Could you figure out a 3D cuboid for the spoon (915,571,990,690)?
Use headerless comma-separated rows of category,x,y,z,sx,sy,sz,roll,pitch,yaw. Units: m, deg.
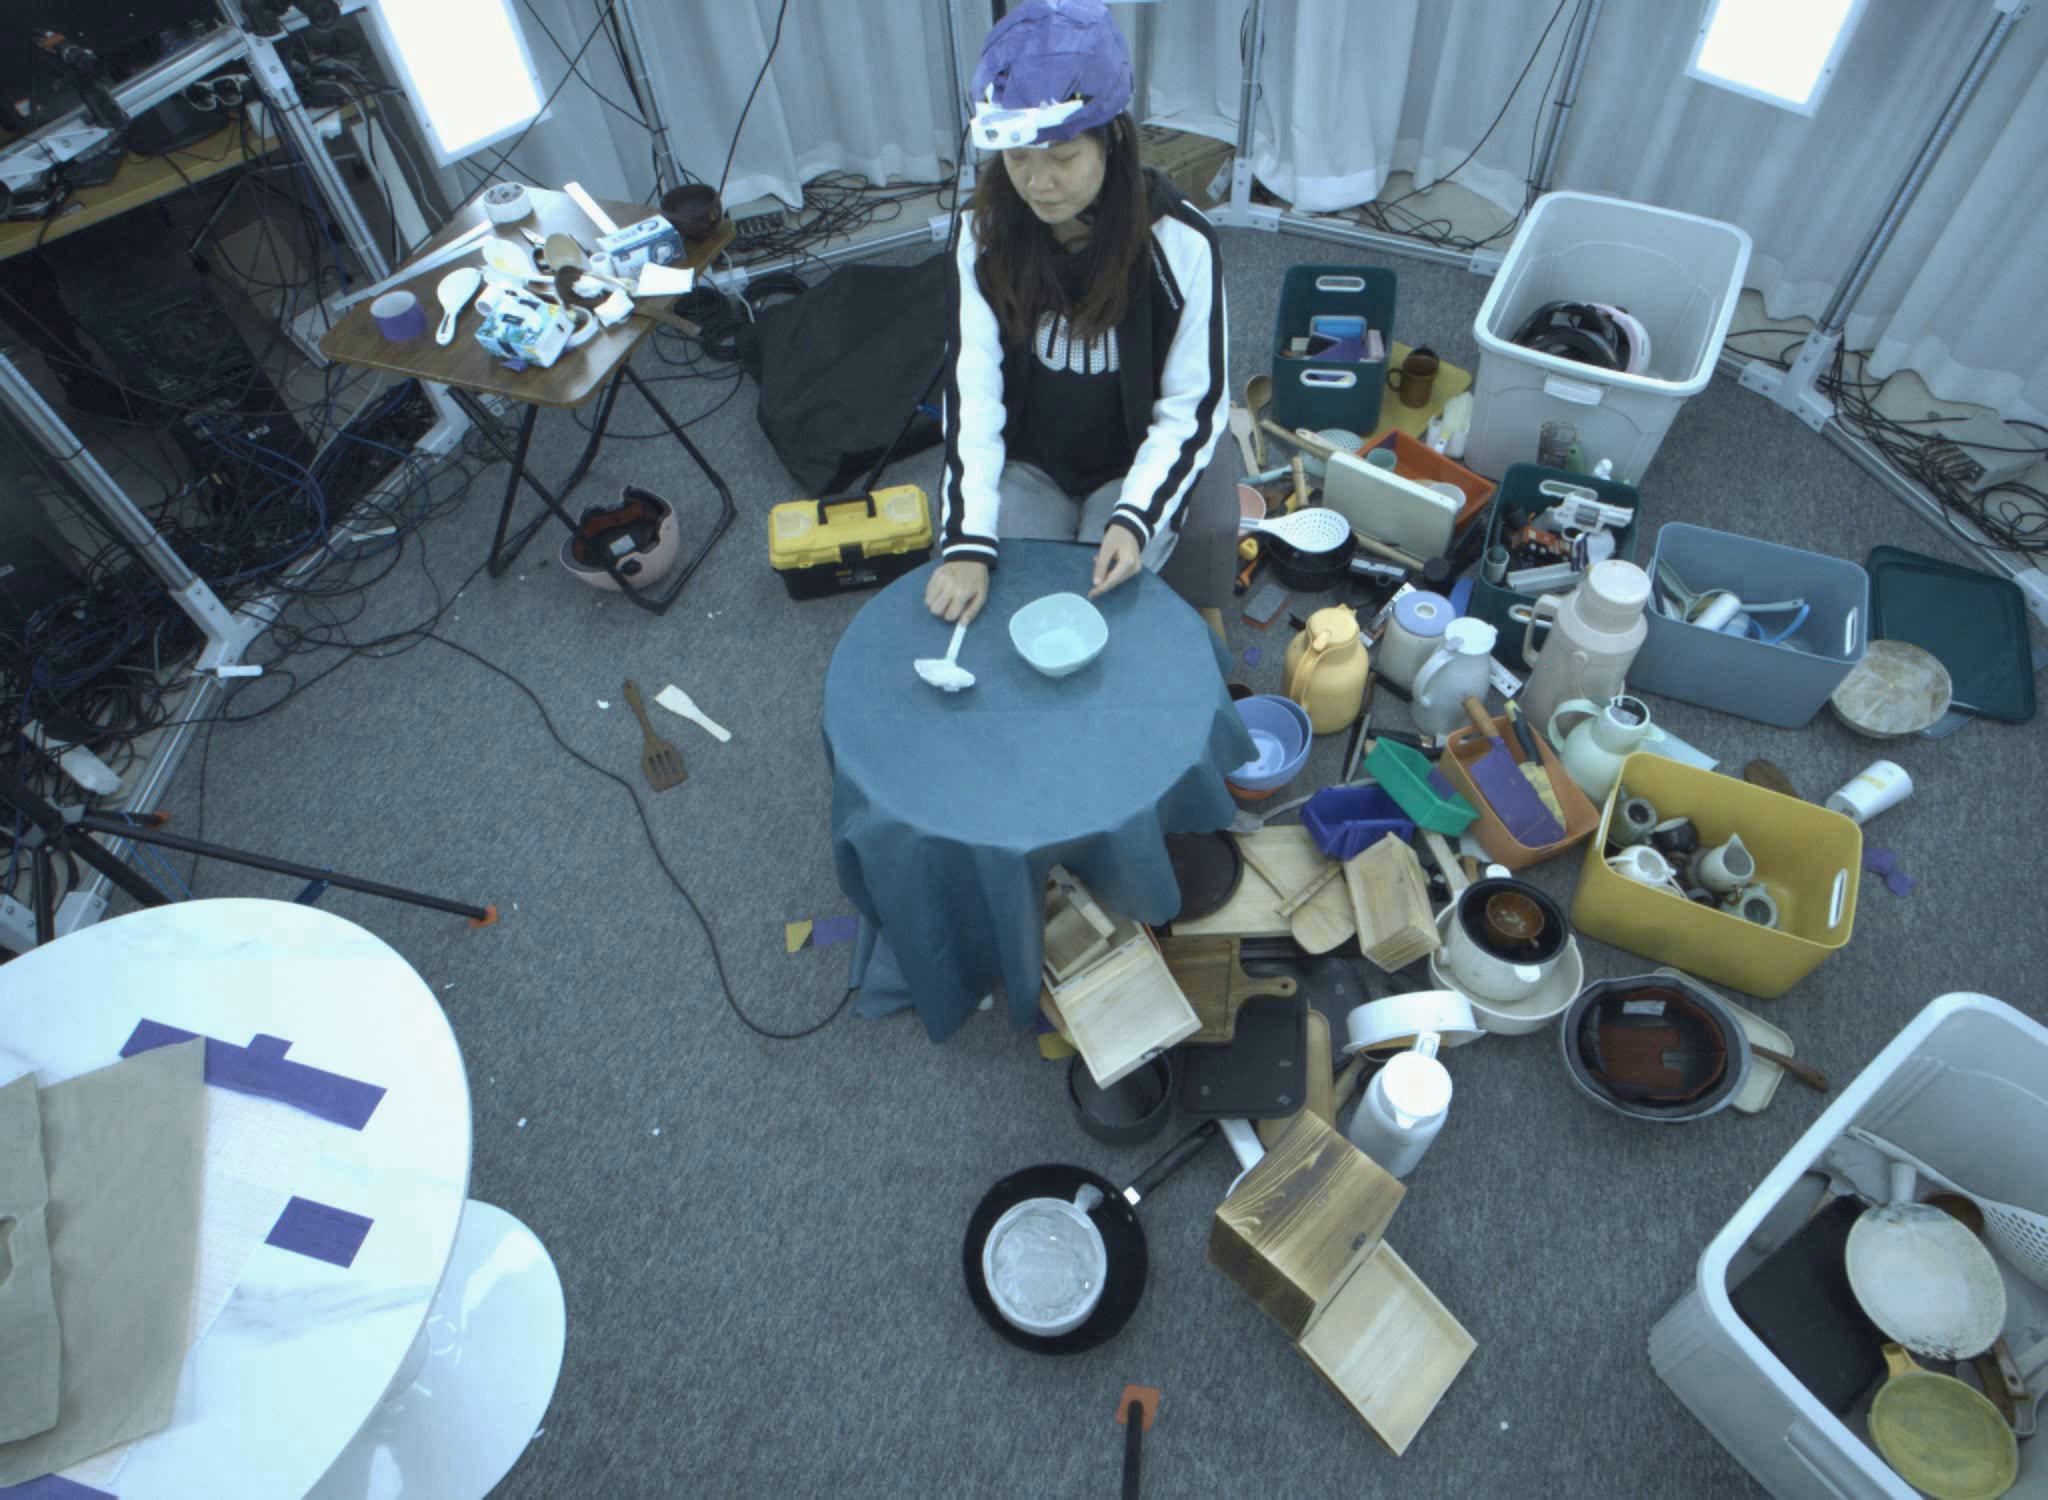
spoon,-0.089,-0.192,1.893,0.101,0.059,0.276,23,56,-5

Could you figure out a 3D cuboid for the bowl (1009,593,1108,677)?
bowl,0.053,-0.166,1.871,0.151,0.059,0.150,0,55,2
